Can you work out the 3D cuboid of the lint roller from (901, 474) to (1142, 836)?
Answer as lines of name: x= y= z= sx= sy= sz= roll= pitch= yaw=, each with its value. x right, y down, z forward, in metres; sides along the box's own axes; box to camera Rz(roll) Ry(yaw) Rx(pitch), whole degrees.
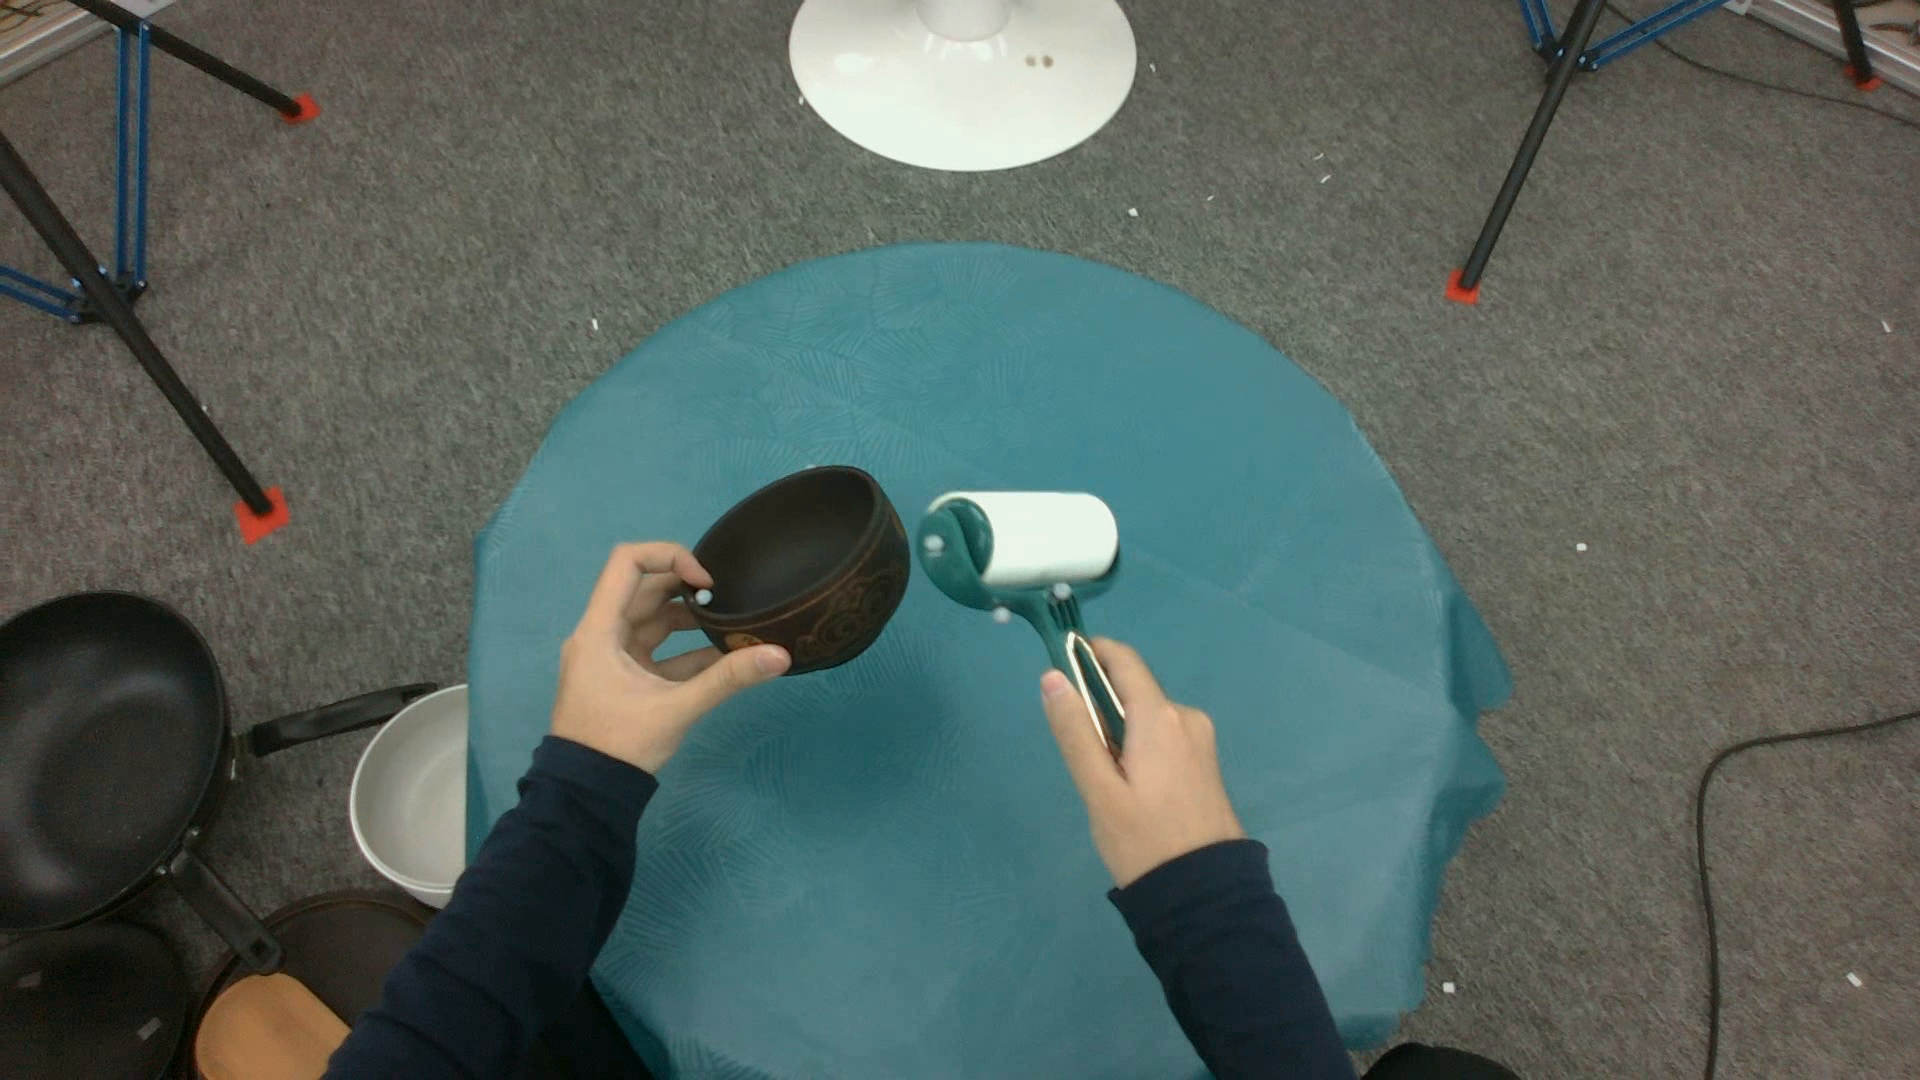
lint roller: x=0.051 y=0.048 z=0.645 sx=0.135 sy=0.048 sz=0.180 roll=-4 pitch=61 yaw=-52

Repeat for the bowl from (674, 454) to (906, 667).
bowl: x=-0.081 y=0.018 z=0.713 sx=0.118 sy=0.069 sz=0.118 roll=-17 pitch=37 yaw=14
